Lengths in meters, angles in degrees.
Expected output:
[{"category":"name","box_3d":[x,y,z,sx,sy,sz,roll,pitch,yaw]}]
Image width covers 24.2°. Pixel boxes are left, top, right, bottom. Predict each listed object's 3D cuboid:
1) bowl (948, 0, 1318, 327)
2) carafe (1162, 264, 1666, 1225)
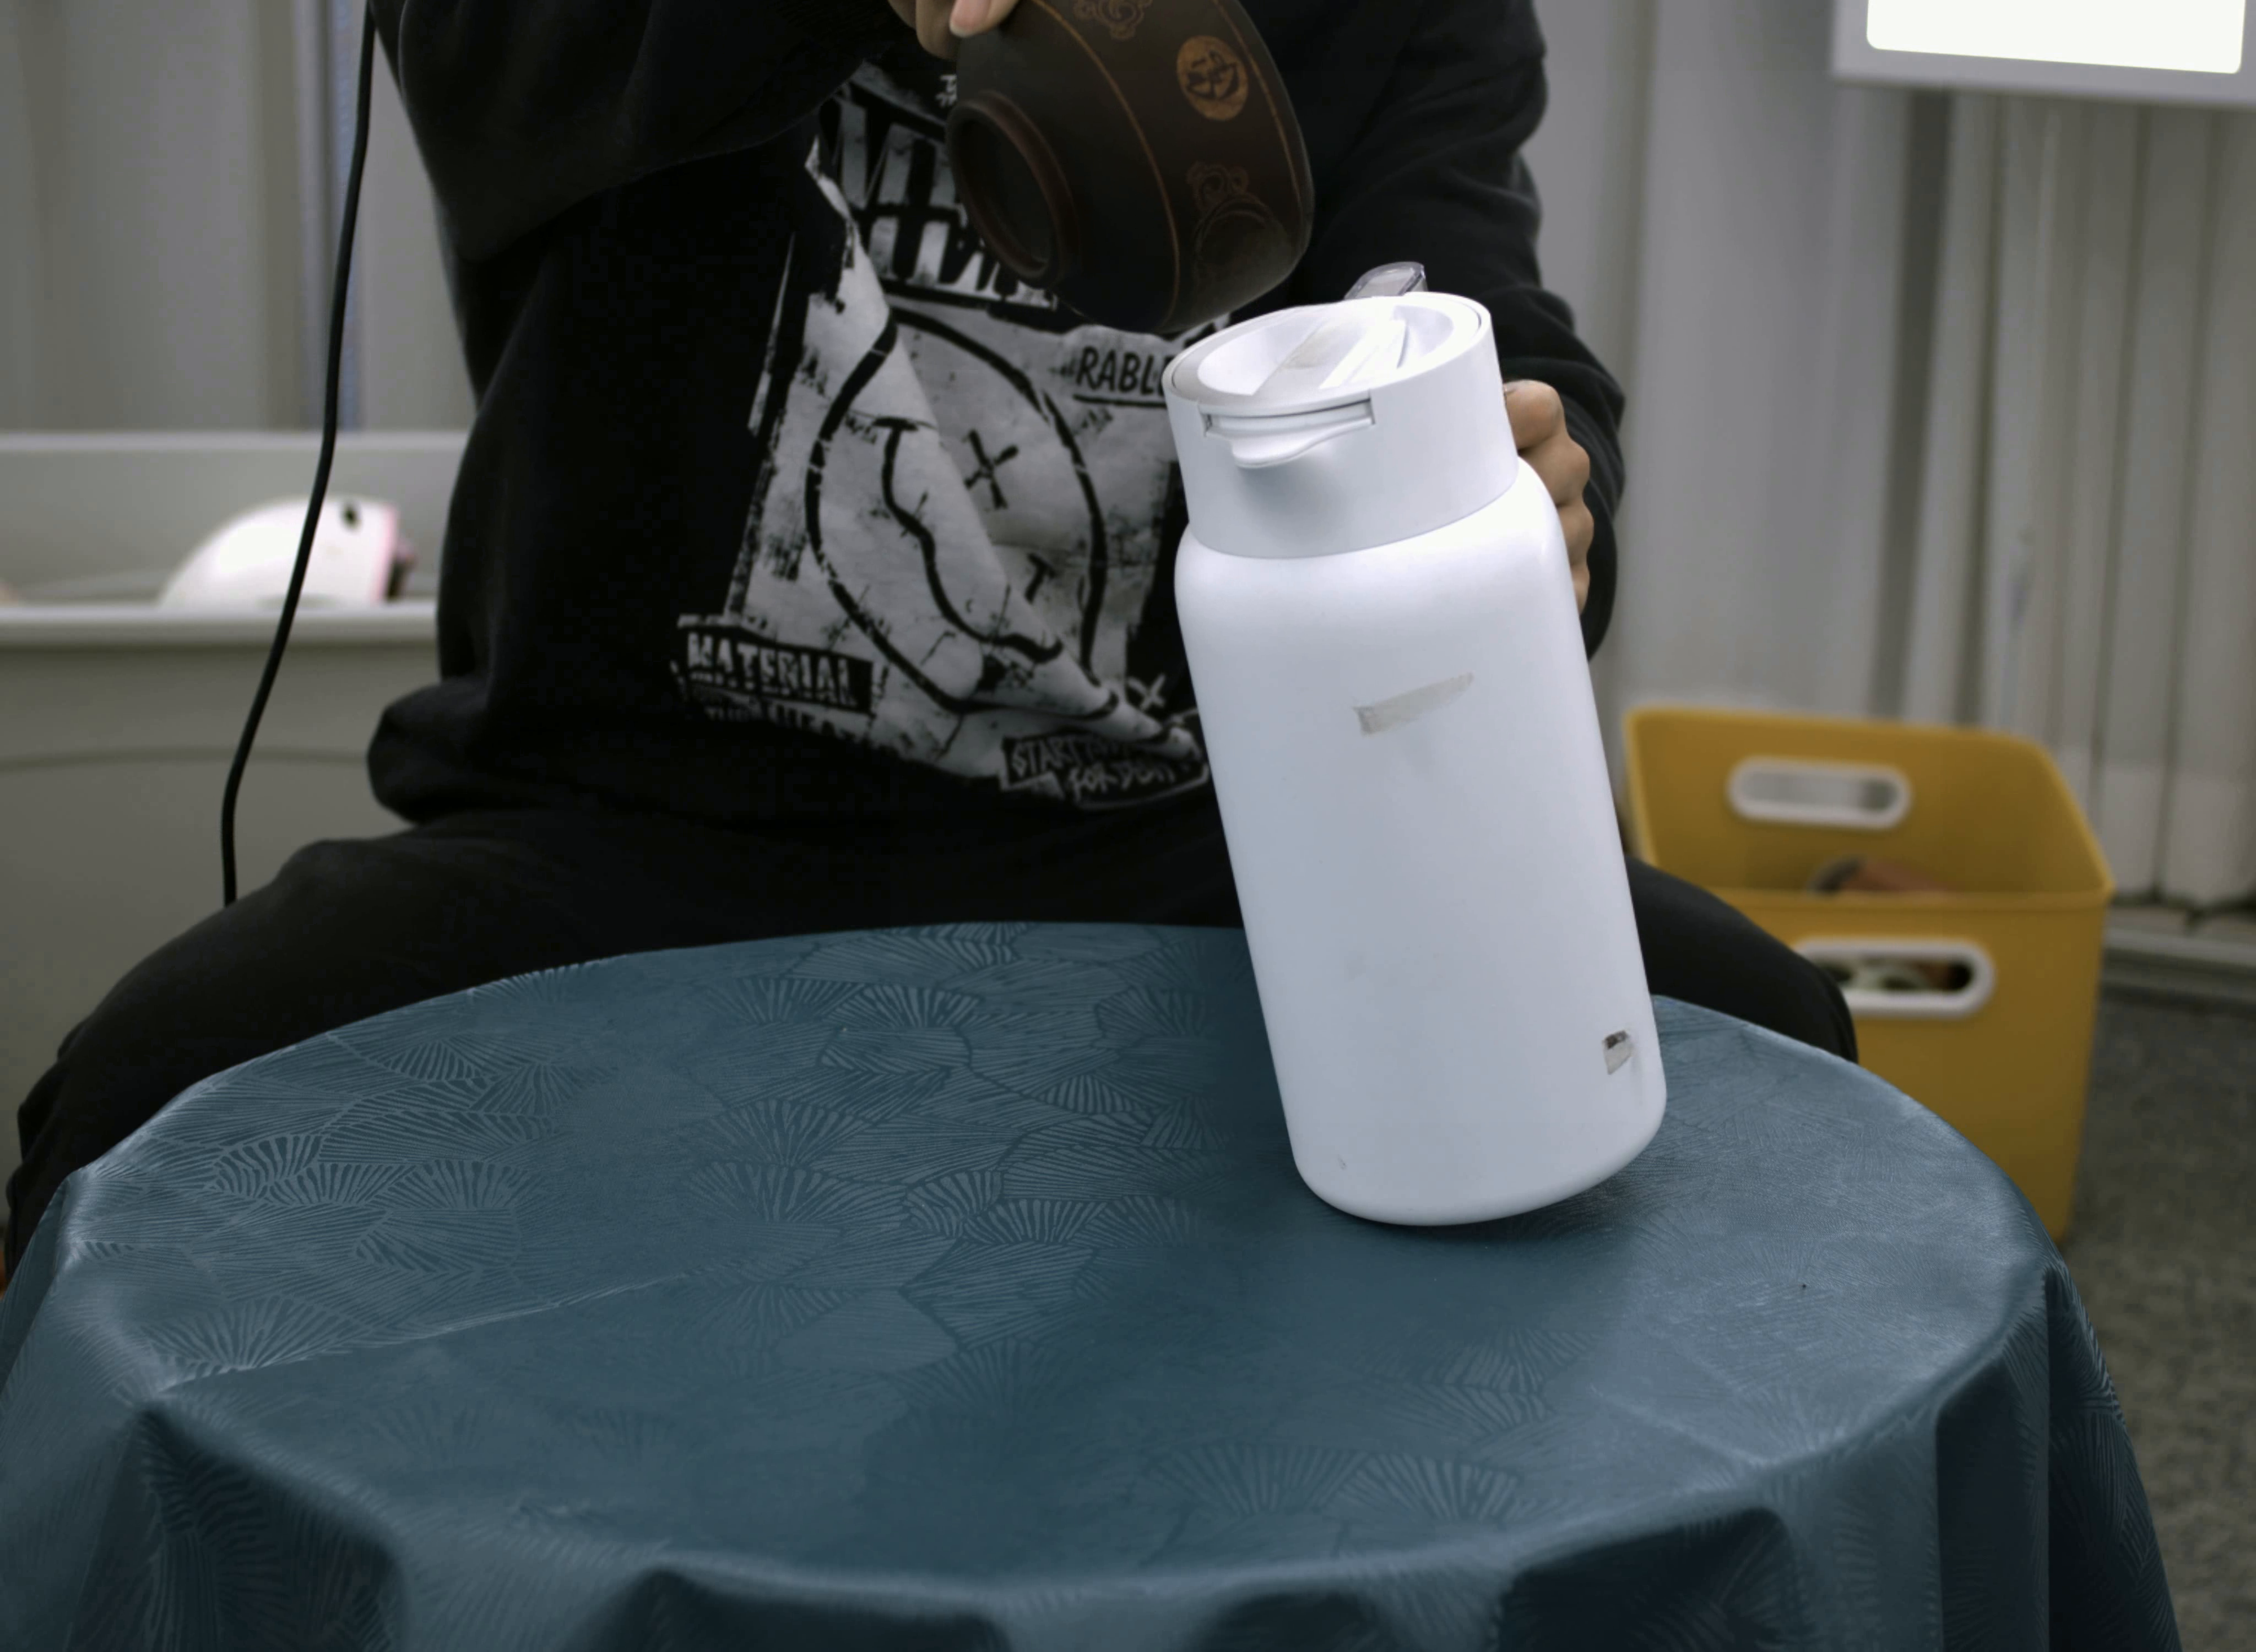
[{"category":"bowl","box_3d":[-0.007,-0.194,1.483,0.070,0.119,0.116,-30,28,-21]},{"category":"carafe","box_3d":[0.088,-0.028,1.595,0.123,0.272,0.172,-5,23,22]}]
